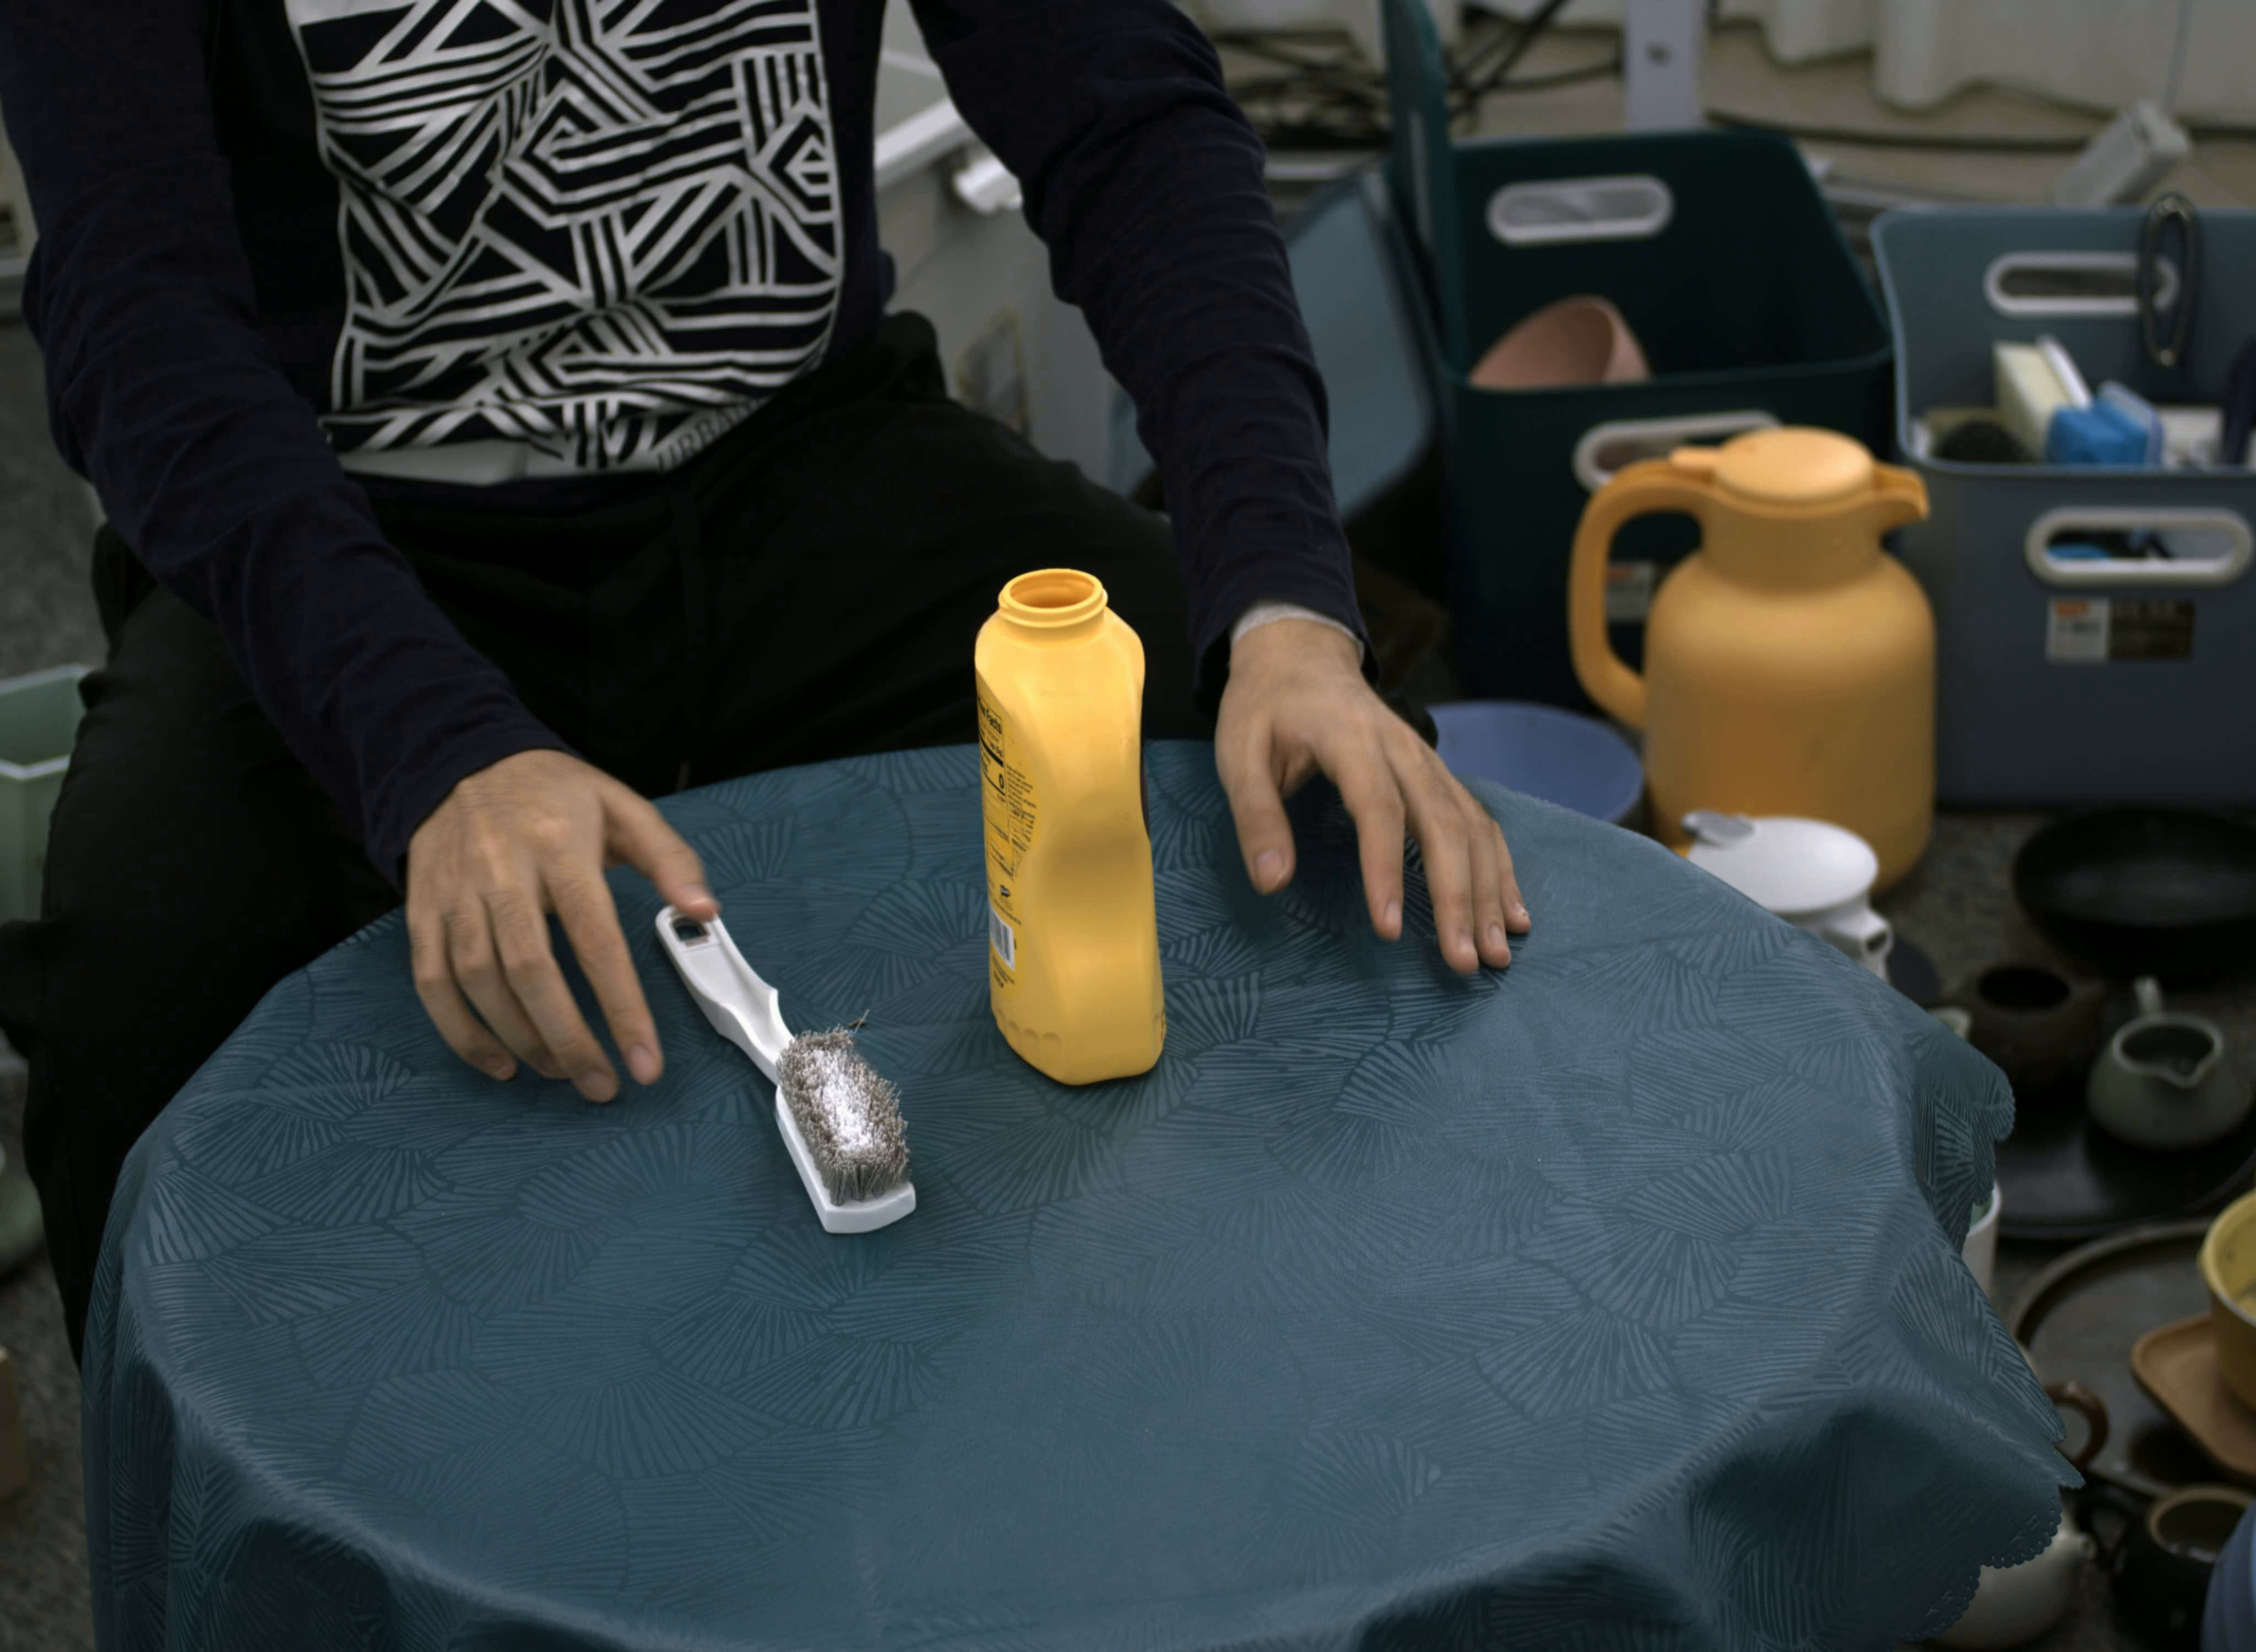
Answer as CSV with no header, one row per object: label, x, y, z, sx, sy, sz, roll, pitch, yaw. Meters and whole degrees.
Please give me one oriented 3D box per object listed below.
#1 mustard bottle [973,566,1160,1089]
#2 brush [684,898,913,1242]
mustard bottle,-0.022,-0.005,1.923,0.059,0.170,0.099,-9,25,-17
brush,-0.119,0.066,1.927,0.034,0.049,0.246,-16,30,-10
